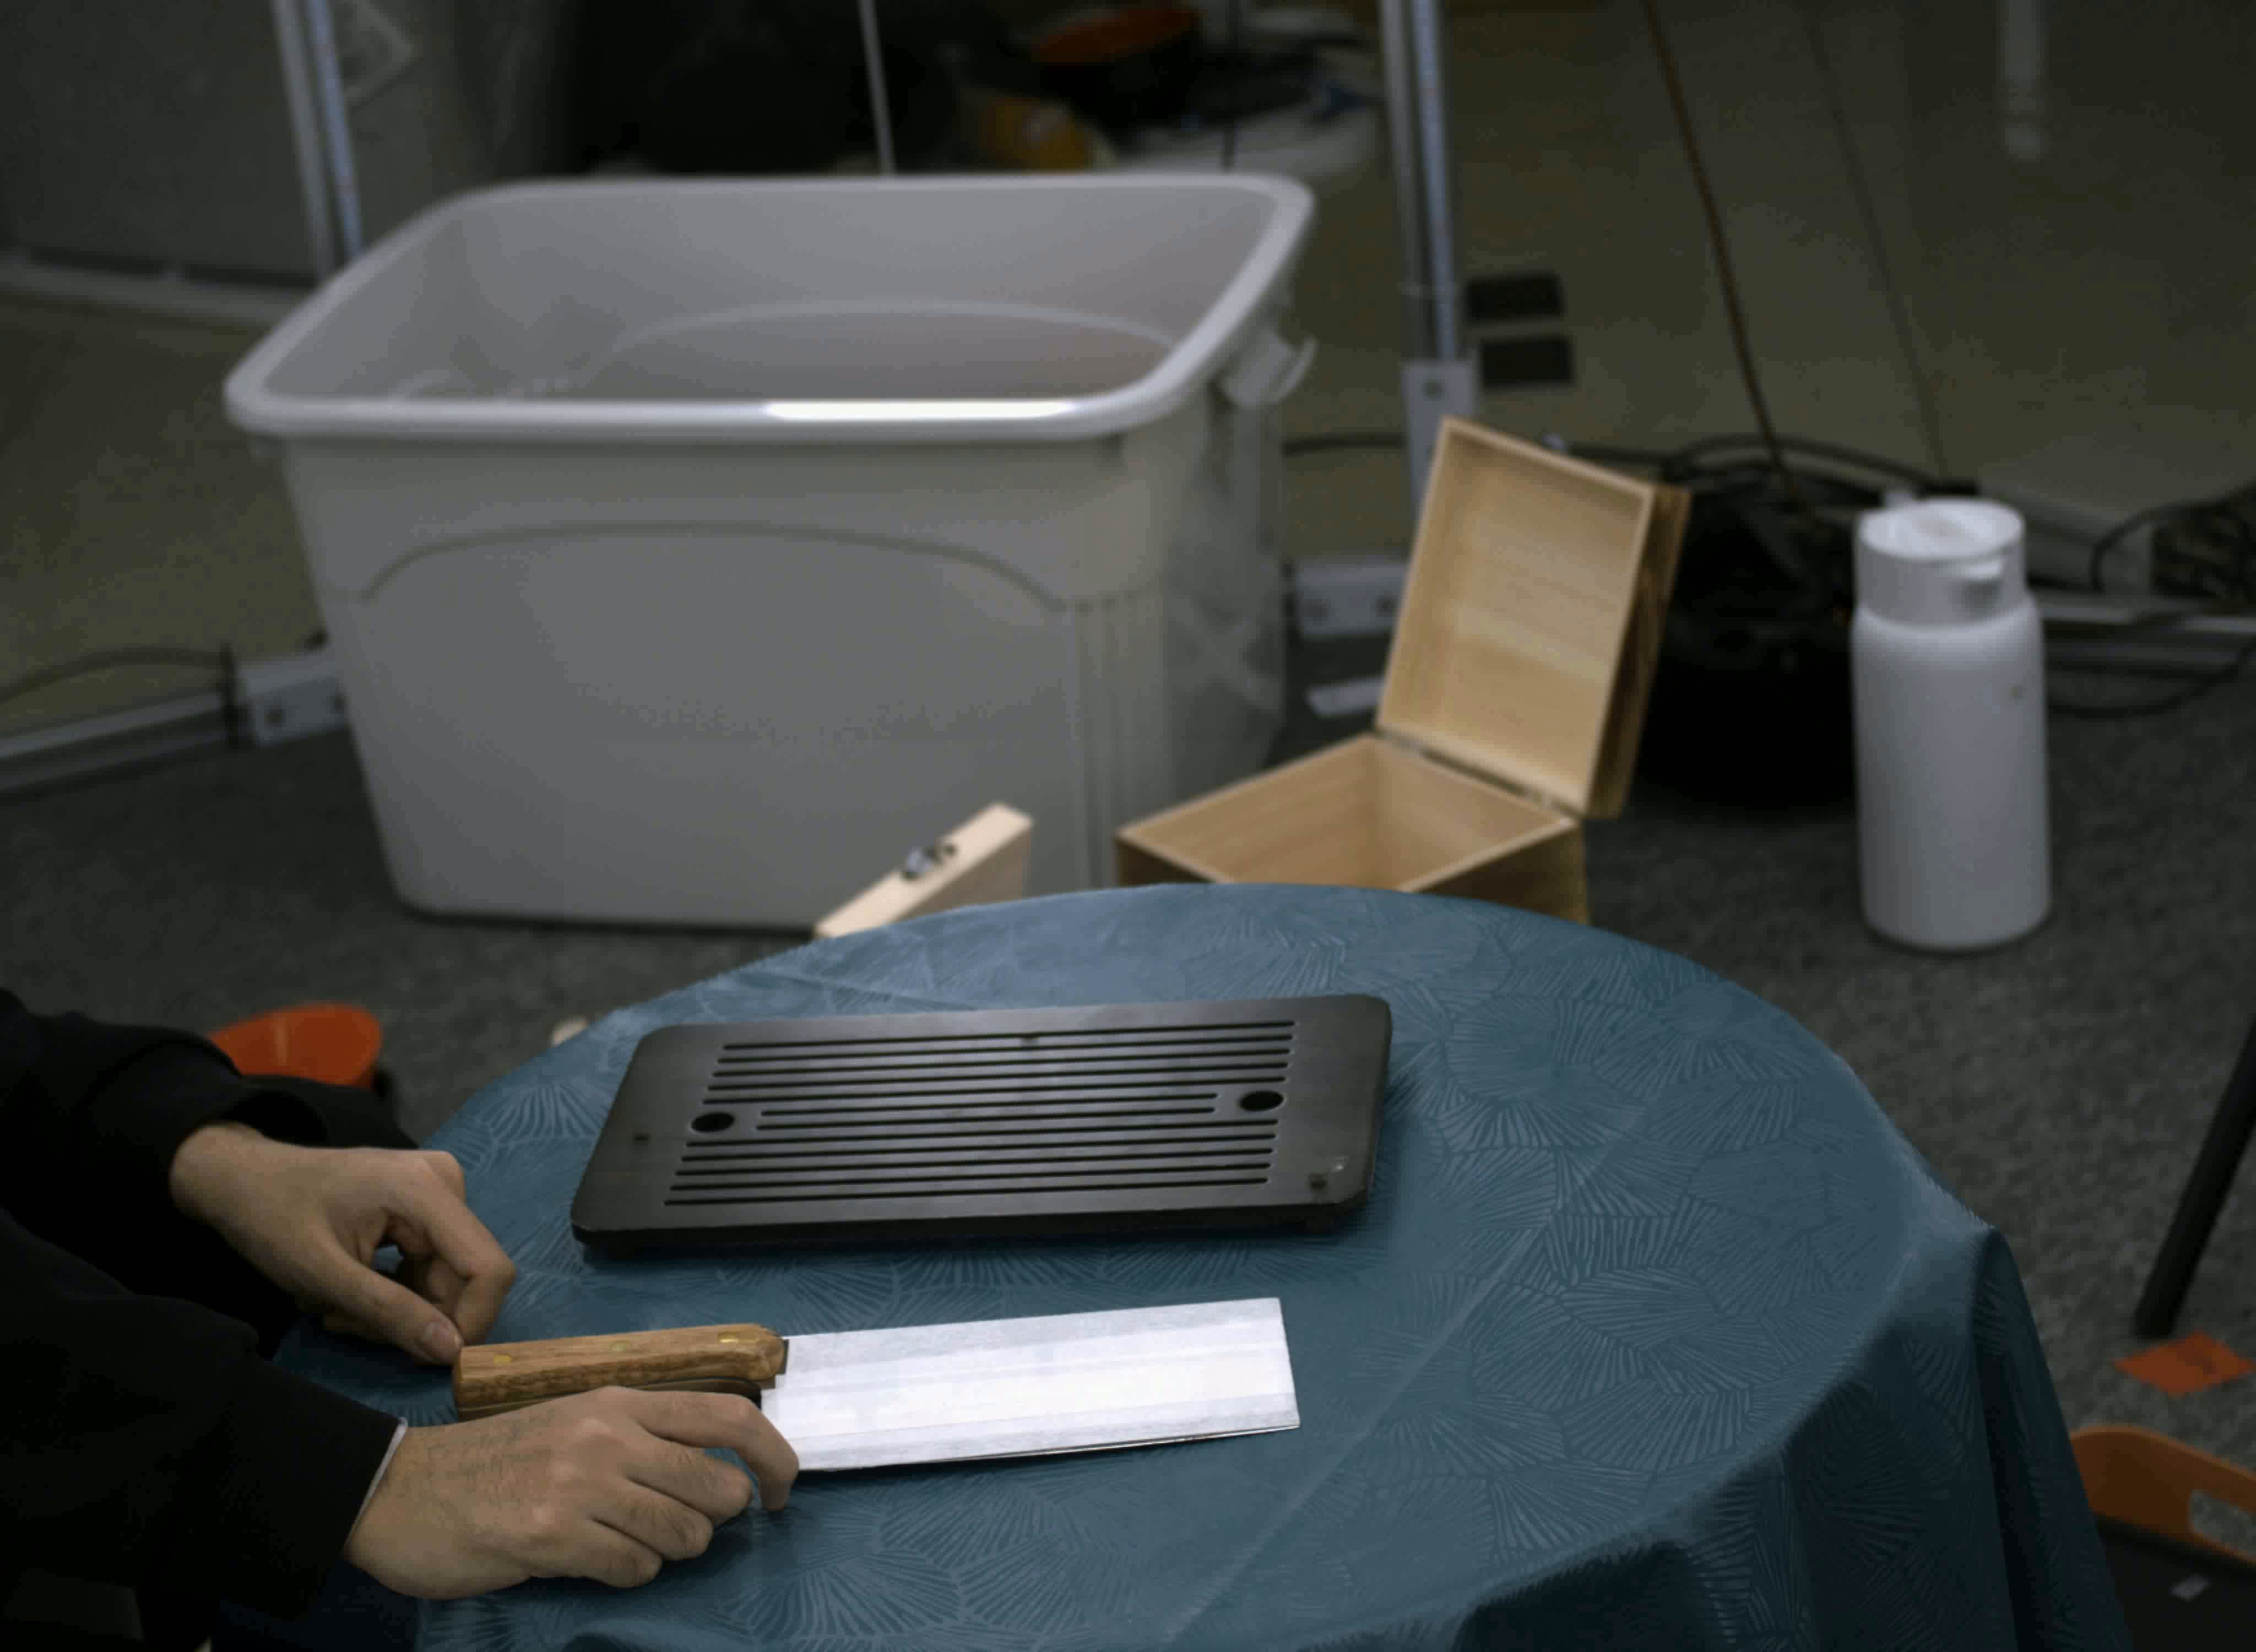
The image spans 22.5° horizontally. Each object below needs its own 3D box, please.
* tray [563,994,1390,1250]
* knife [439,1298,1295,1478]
[{"bbox_3d":[-0.055,0.115,2.190,0.305,0.019,0.167,-2,26,9],"label":"tray"},{"bbox_3d":[-0.094,0.202,2.017,0.305,0.021,0.091,-5,26,-1],"label":"knife"}]
